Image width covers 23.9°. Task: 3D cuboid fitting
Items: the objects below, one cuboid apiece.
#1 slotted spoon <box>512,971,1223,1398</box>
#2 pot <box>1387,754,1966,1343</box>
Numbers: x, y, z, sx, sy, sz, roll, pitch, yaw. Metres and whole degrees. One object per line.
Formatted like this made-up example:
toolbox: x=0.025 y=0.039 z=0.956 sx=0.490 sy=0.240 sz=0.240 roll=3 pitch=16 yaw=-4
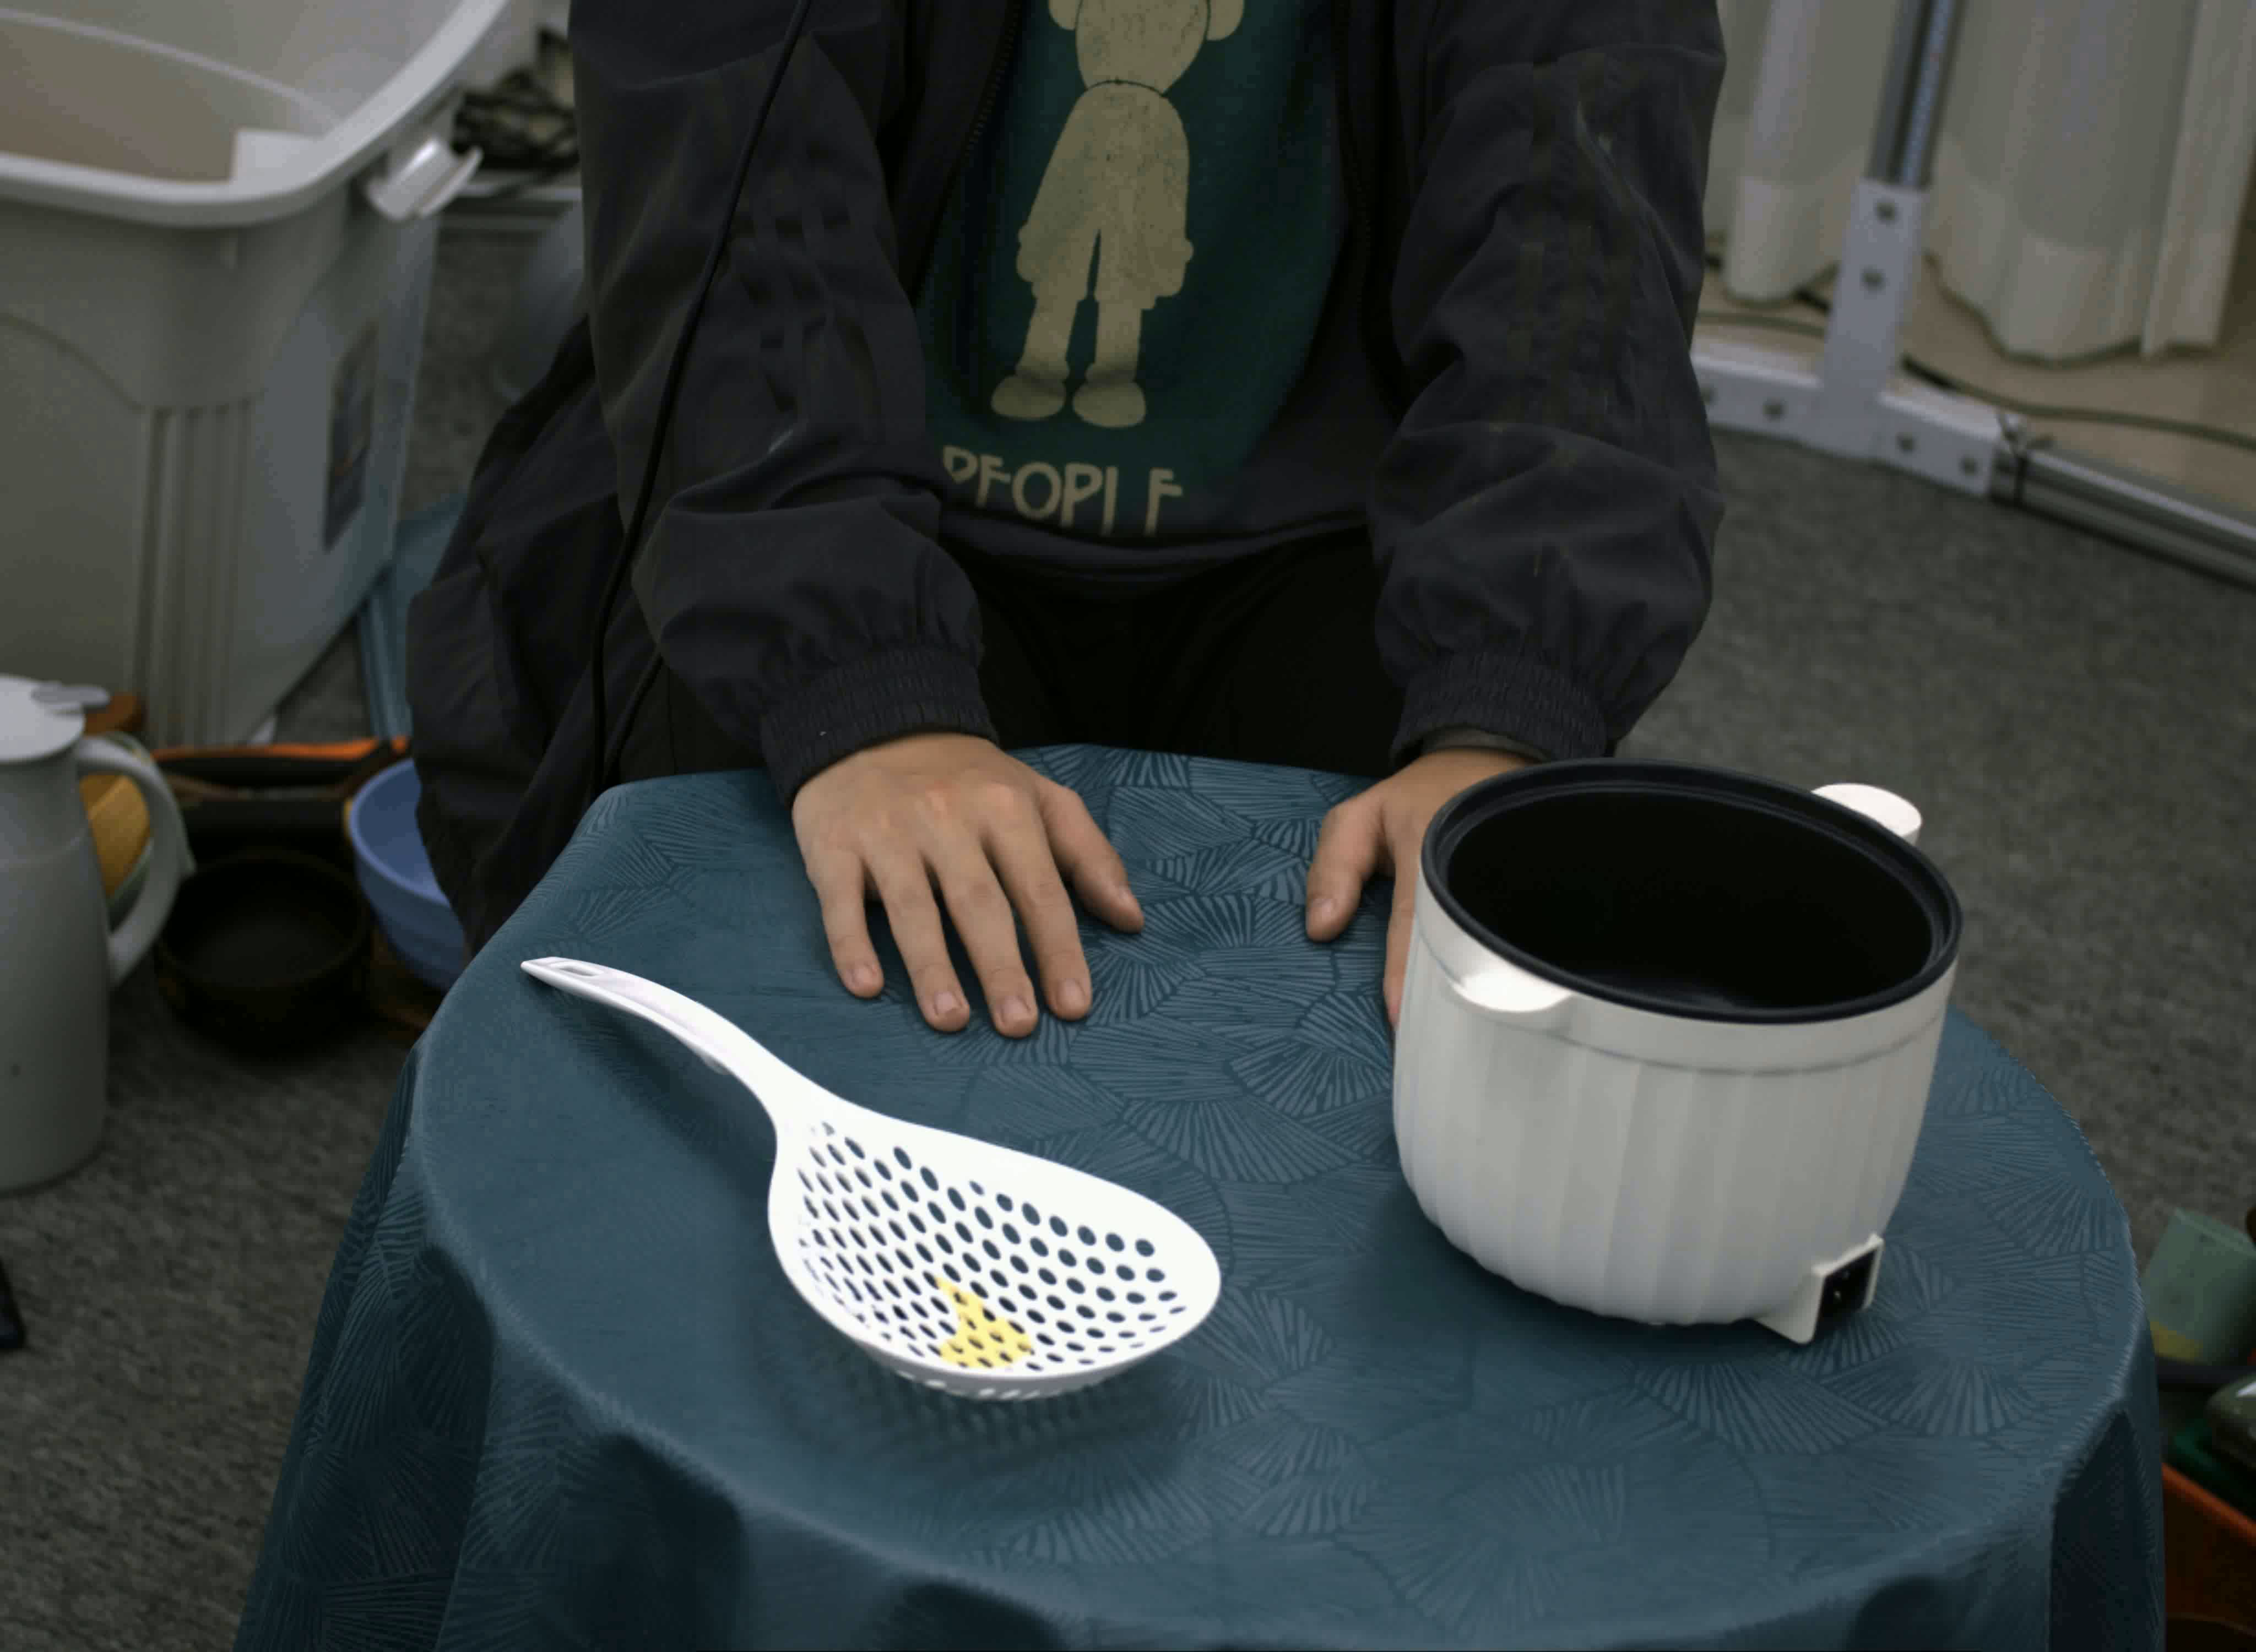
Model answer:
slotted spoon: x=-0.105 y=0.106 z=1.769 sx=0.136 sy=0.050 sz=0.351 roll=-15 pitch=34 yaw=-33
pot: x=0.174 y=0.075 z=1.787 sx=0.192 sy=0.142 sz=0.239 roll=29 pitch=33 yaw=33
